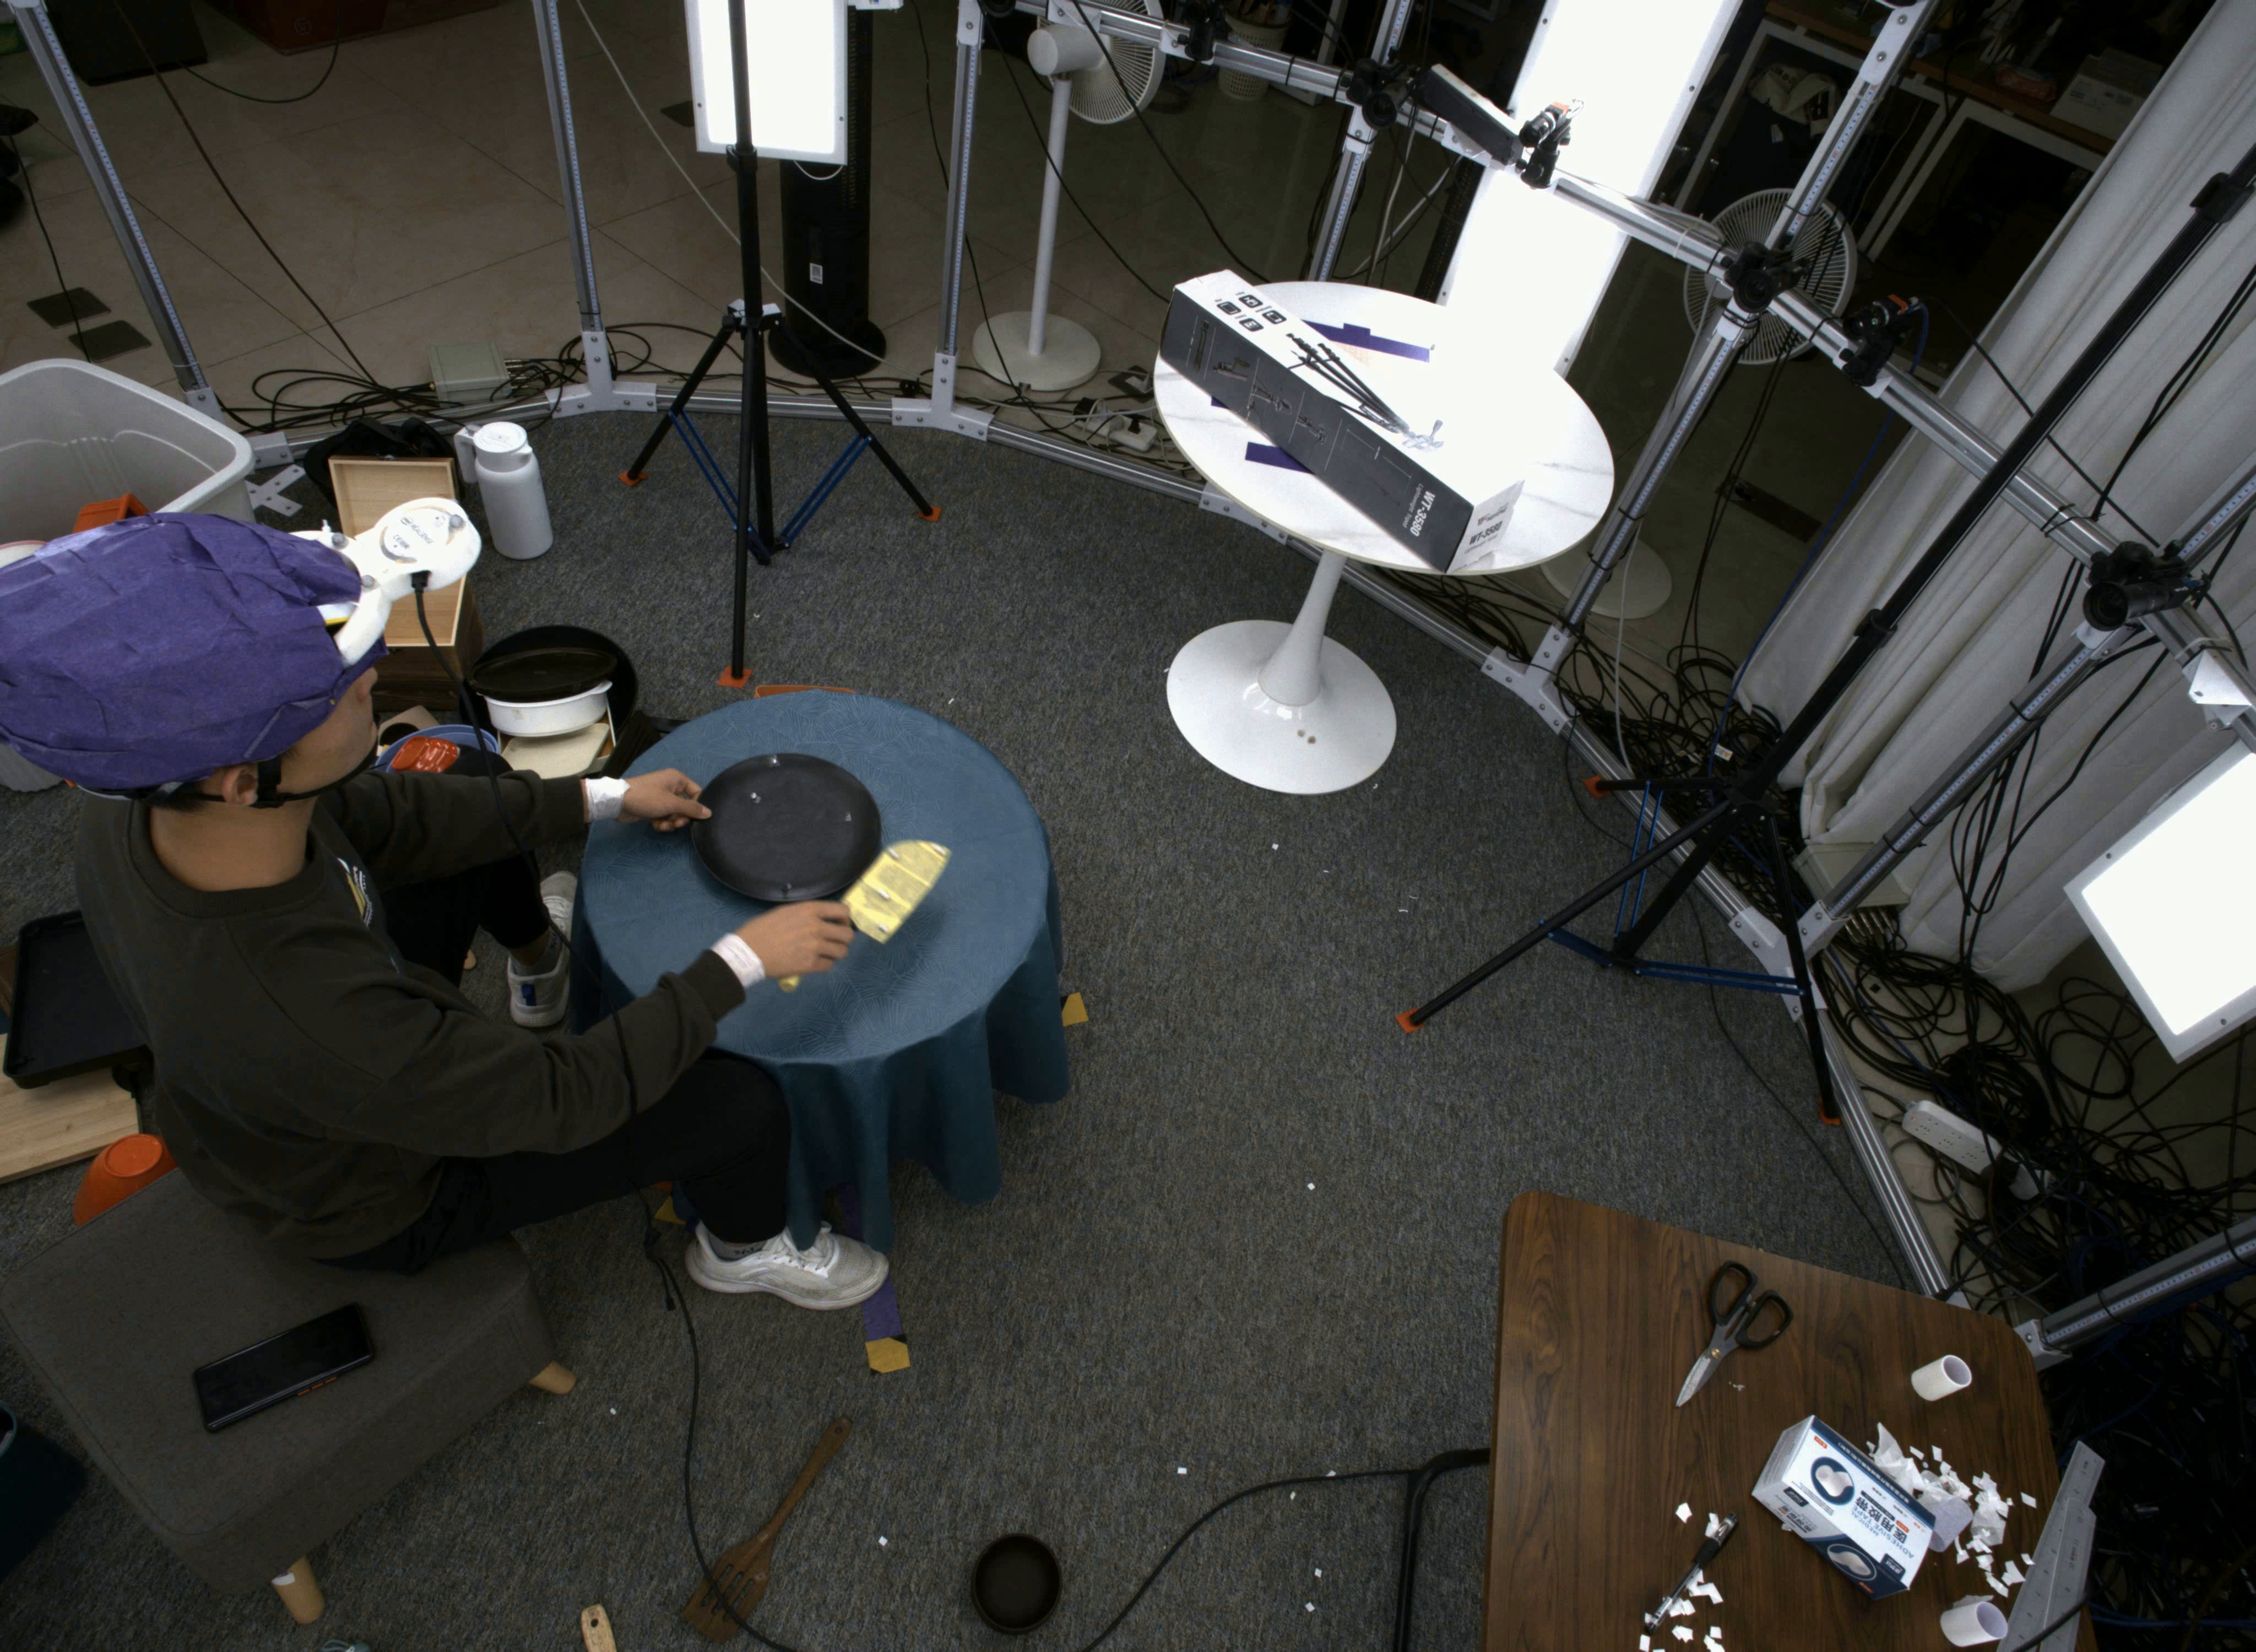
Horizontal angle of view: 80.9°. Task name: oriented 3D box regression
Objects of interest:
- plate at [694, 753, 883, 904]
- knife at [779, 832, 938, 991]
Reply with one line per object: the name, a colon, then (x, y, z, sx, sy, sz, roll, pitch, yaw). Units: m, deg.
plate: (-0.446, 0.003, 1.706, 0.245, 0.024, 0.240, 10, 53, -11)
knife: (-0.321, 0.099, 1.575, 0.080, 0.027, 0.288, 34, 50, 4)
